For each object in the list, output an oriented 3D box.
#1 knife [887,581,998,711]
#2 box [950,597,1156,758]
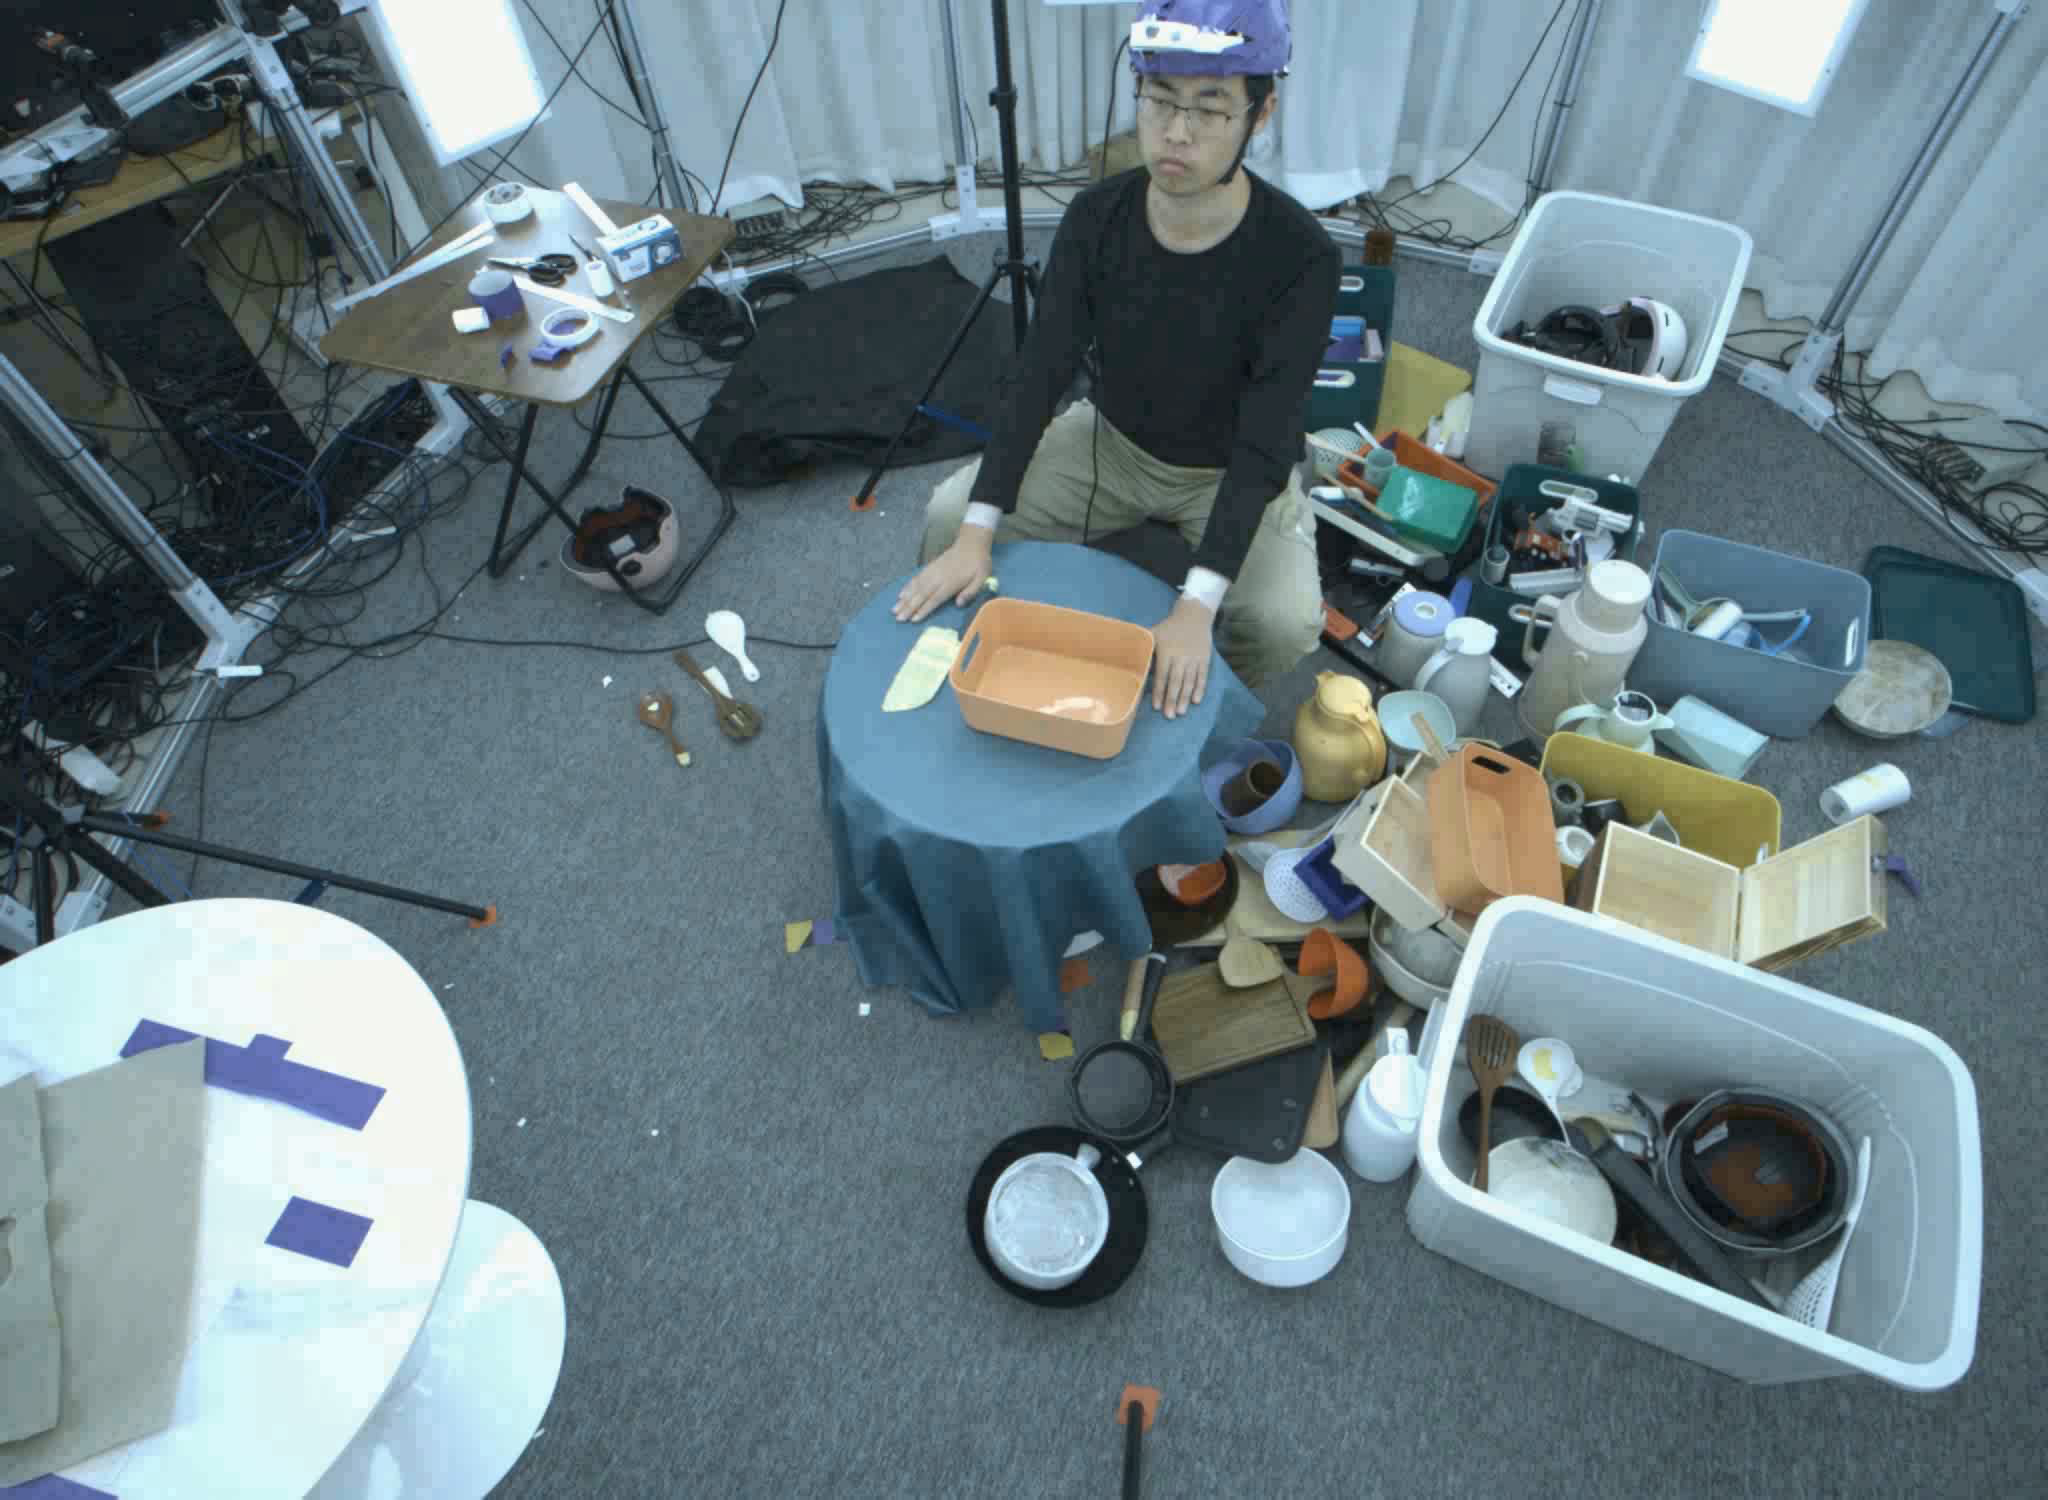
[{"bbox_3d":[-0.125,-0.165,1.900,0.080,0.027,0.290,24,60,15],"label":"knife"},{"bbox_3d":[0.045,-0.104,1.796,0.271,0.104,0.199,14,57,12],"label":"box"}]
